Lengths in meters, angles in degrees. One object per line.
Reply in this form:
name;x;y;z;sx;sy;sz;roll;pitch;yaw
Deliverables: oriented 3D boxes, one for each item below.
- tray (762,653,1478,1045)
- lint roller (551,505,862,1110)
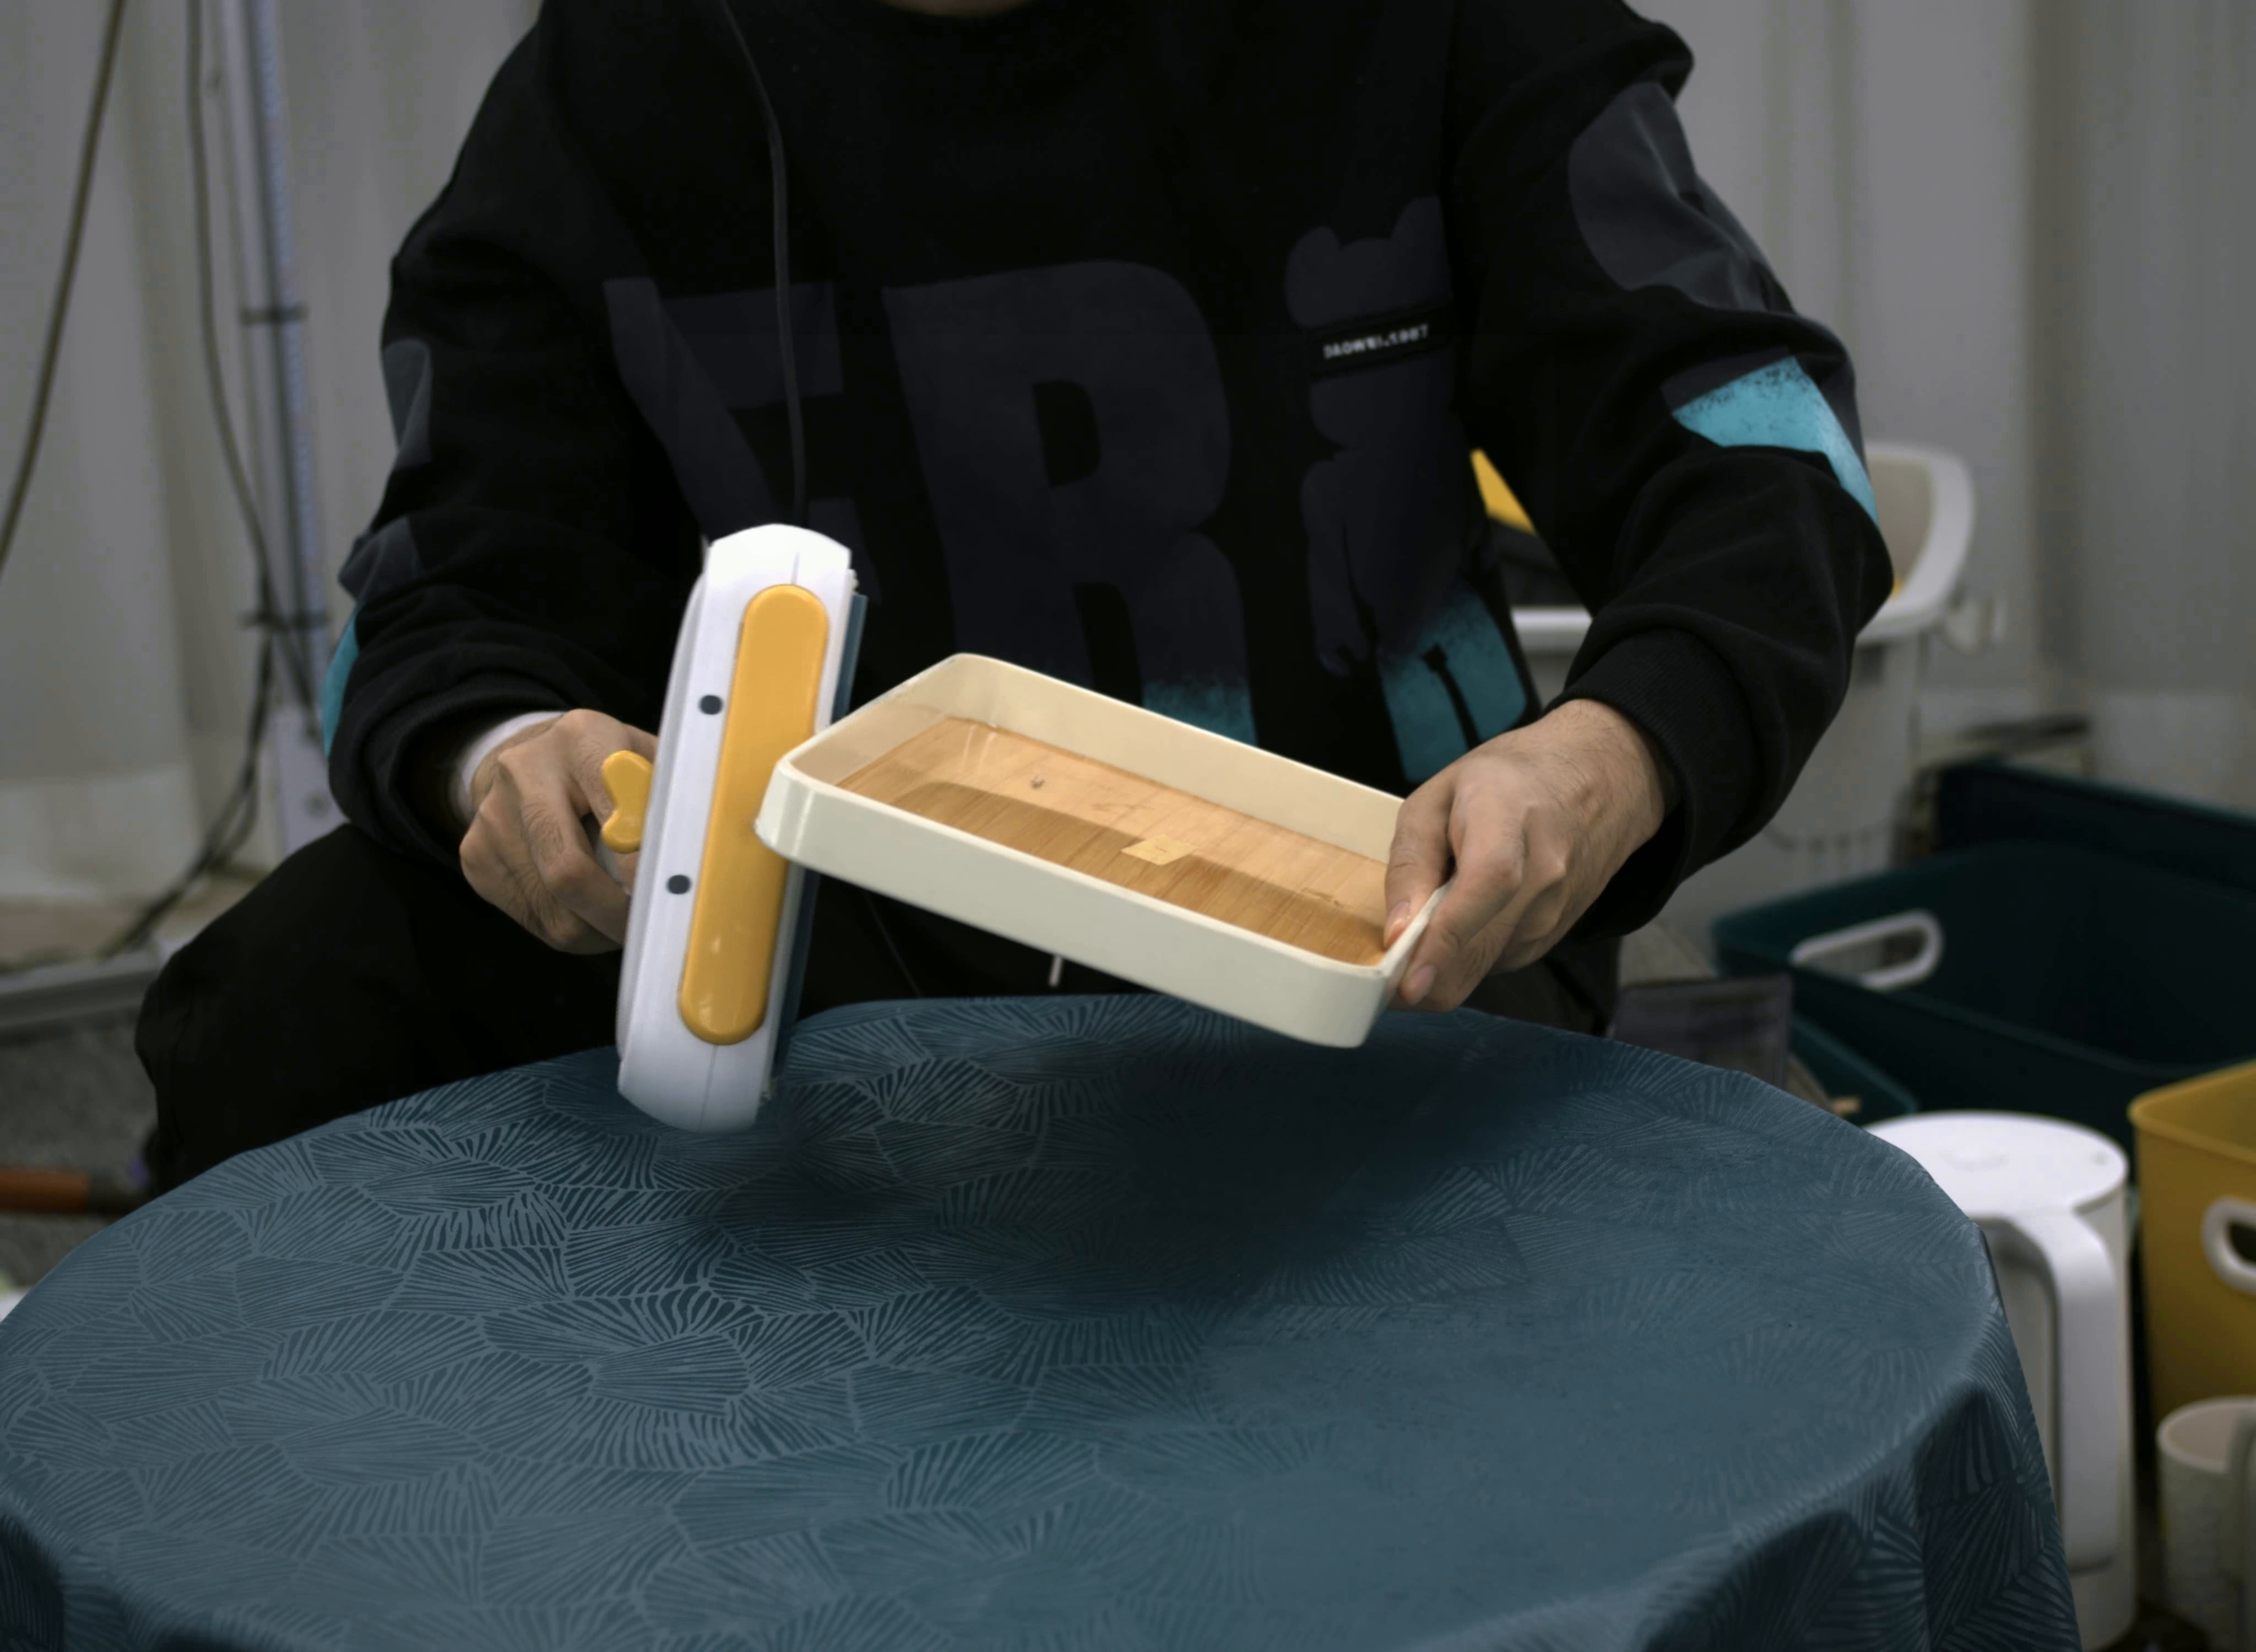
tray;0.005;0.003;1.714;0.191;0.027;0.301;19;10;6
lint roller;-0.142;0.005;1.774;0.074;0.195;0.191;7;-15;-14
